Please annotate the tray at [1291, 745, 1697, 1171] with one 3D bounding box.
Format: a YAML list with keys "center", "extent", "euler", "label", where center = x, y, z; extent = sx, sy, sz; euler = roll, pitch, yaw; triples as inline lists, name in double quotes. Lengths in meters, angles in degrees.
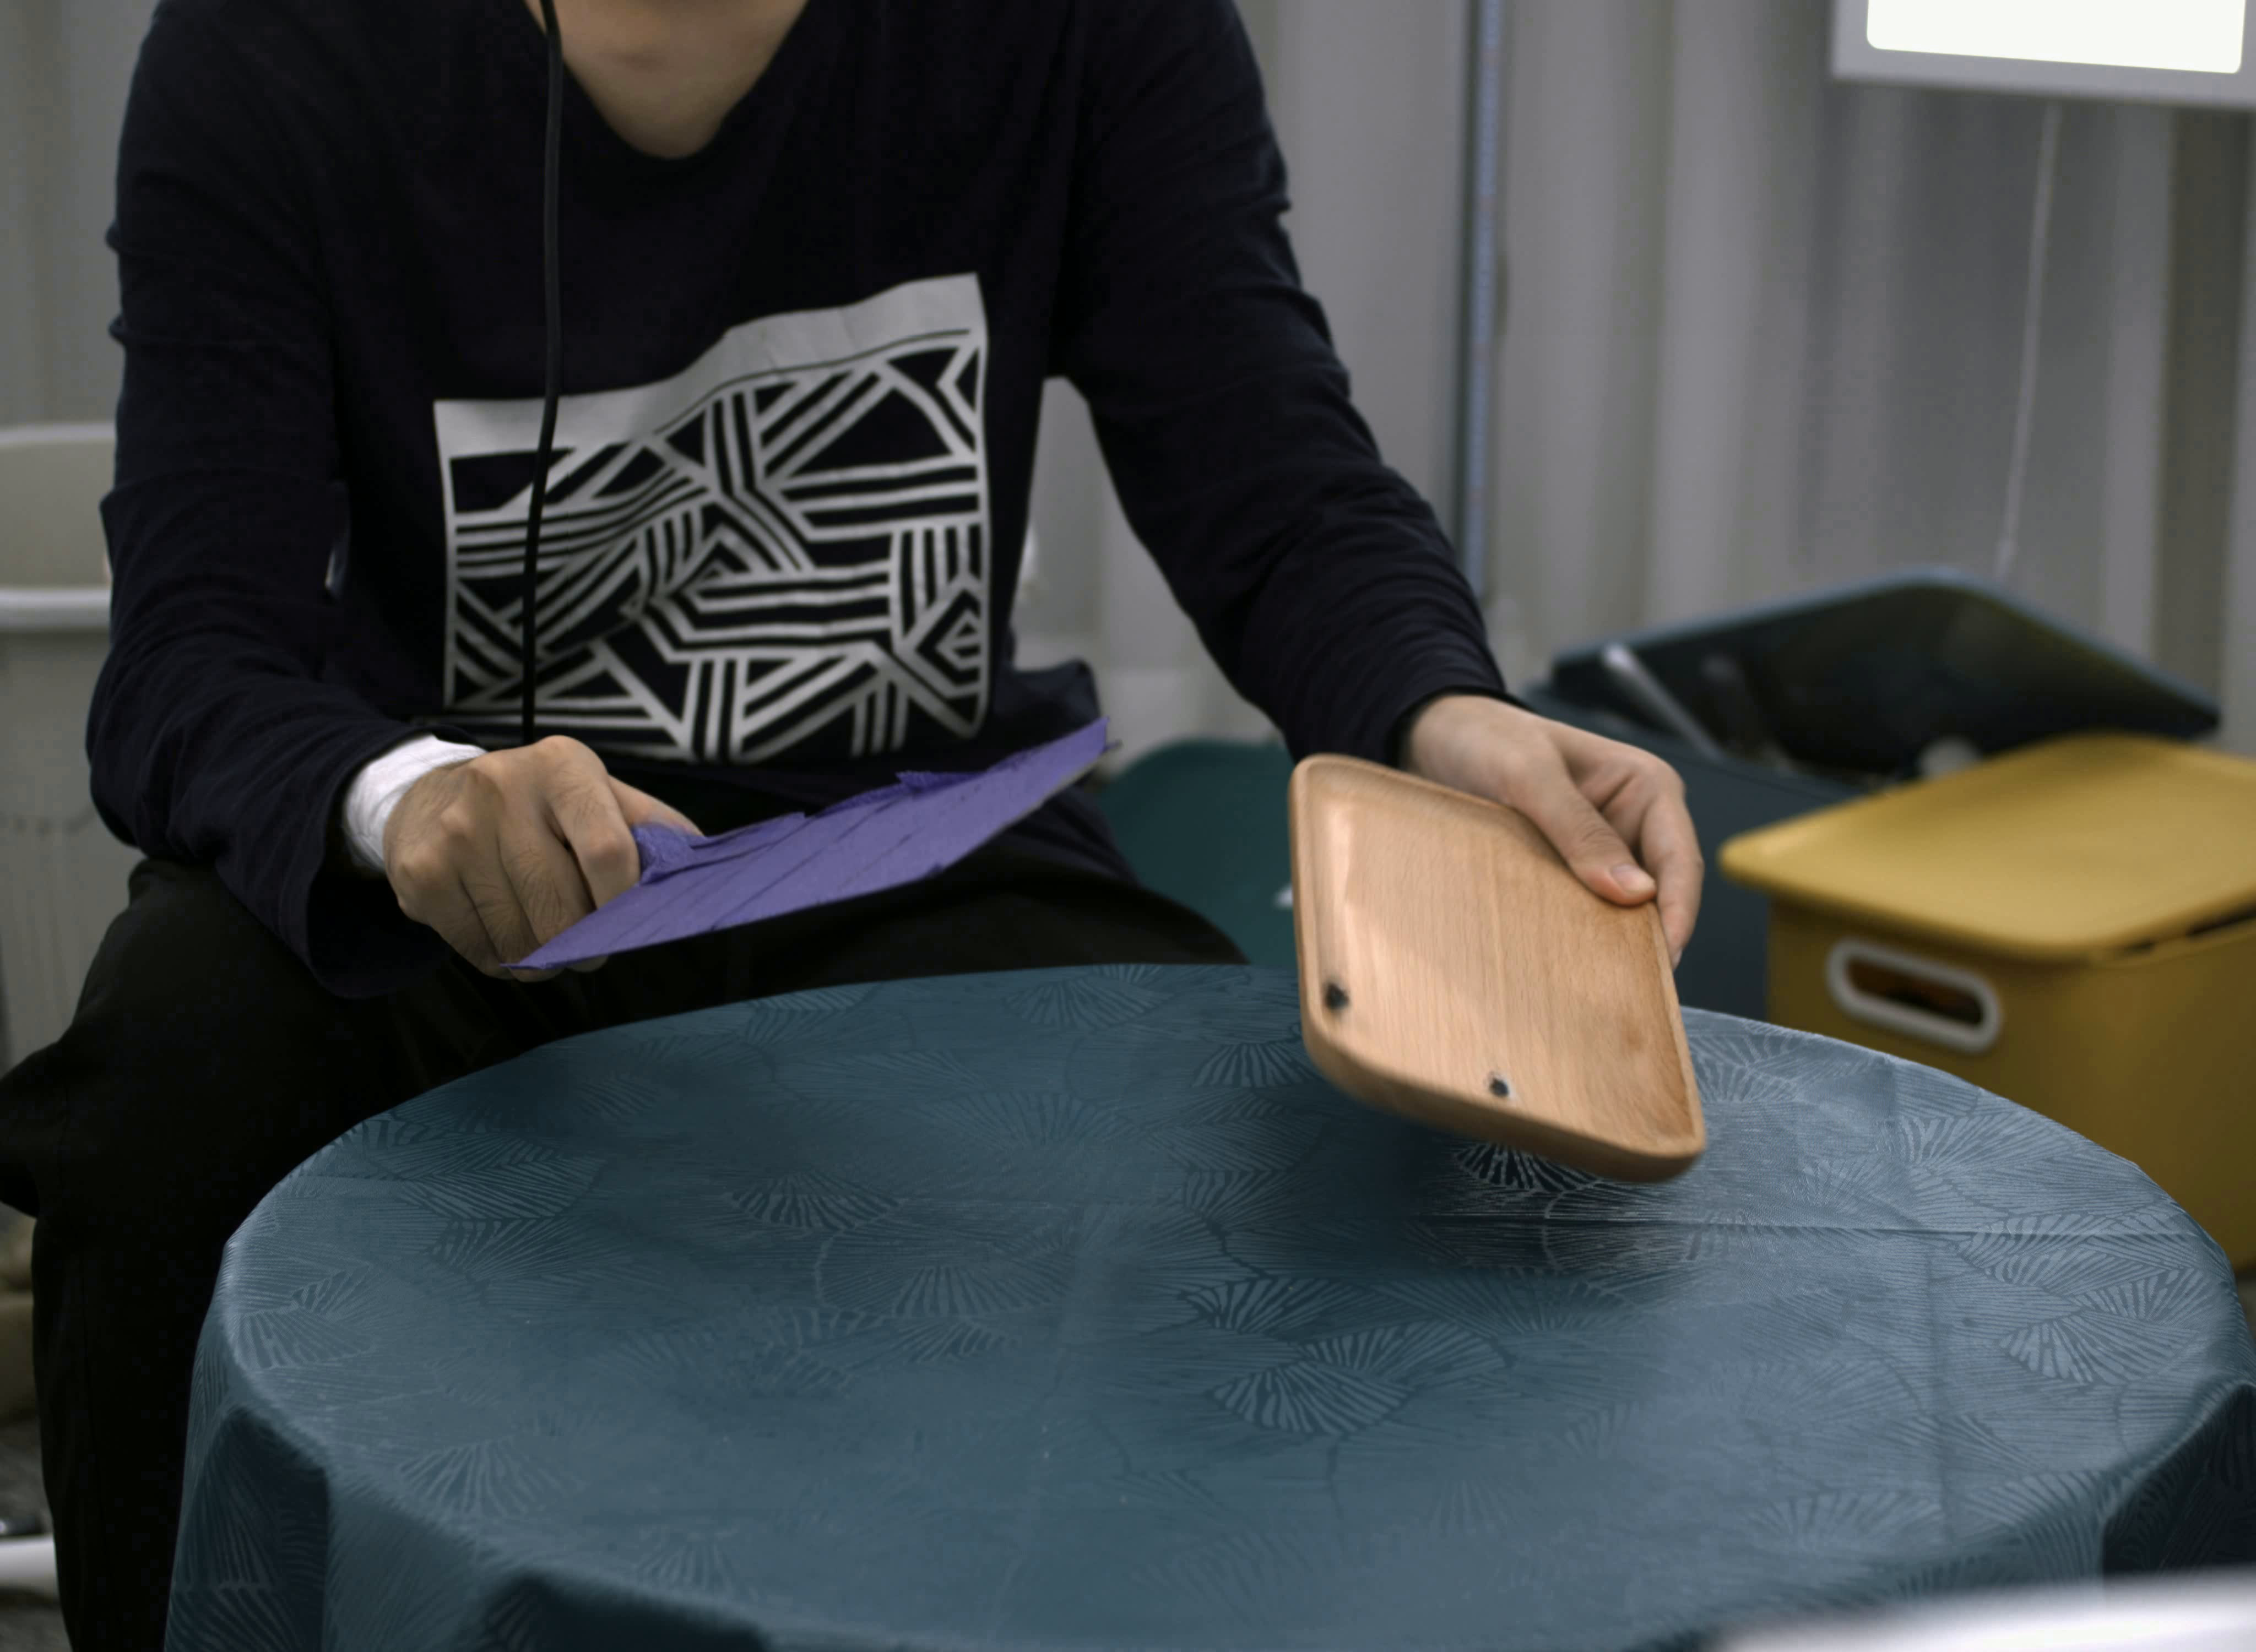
- center: [0.113, 0.039, 1.652]
  extent: [0.130, 0.023, 0.249]
  euler: [24, 19, -5]
  label: "tray"

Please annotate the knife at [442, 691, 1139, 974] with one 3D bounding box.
- center: [-0.130, 0.012, 1.588]
  extent: [0.313, 0.032, 0.104]
  euler: [-17, 12, 47]
  label: "knife"
